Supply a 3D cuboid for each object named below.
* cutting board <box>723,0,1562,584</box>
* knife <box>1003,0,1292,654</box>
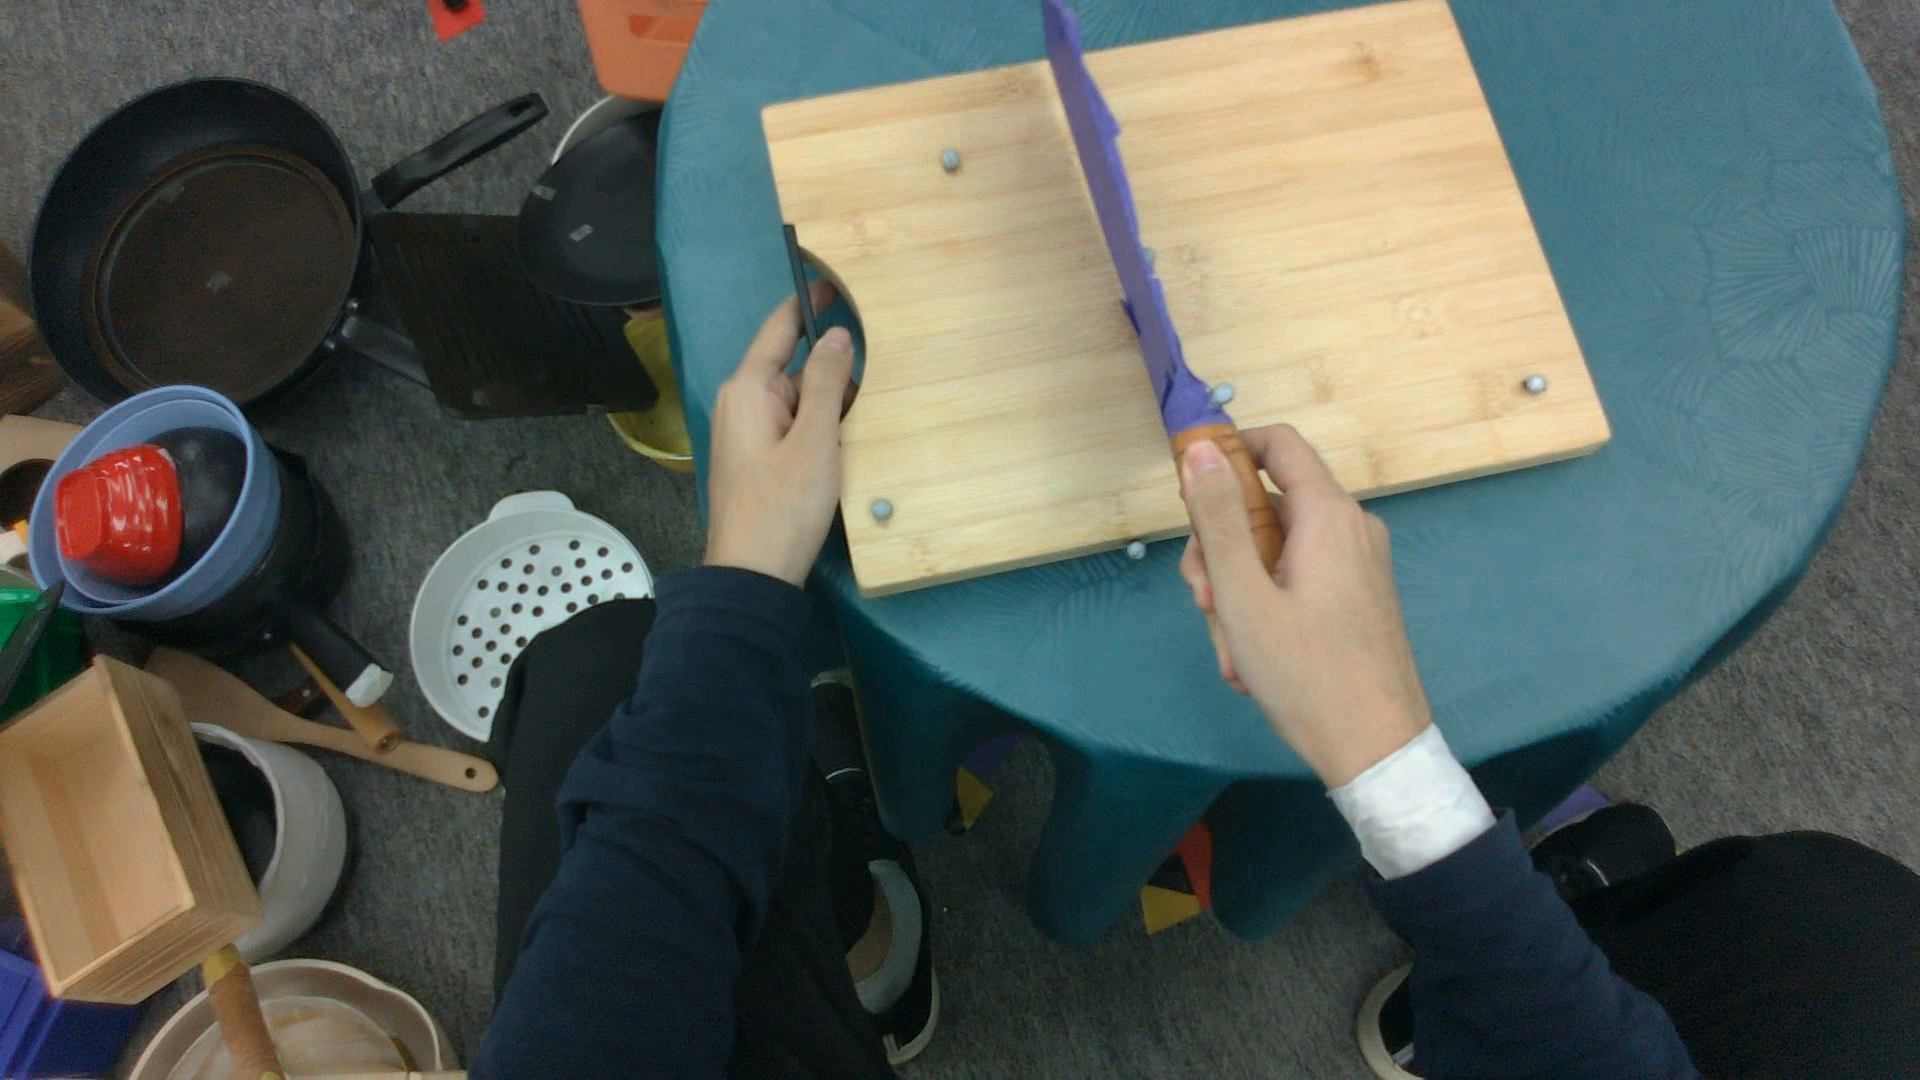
[{"bbox_3d":[0.082,-0.127,0.640,0.349,0.023,0.251,-12,73,-7],"label":"cutting board"},{"bbox_3d":[0.070,-0.103,0.572,0.032,0.104,0.316,-18,77,6],"label":"knife"}]
